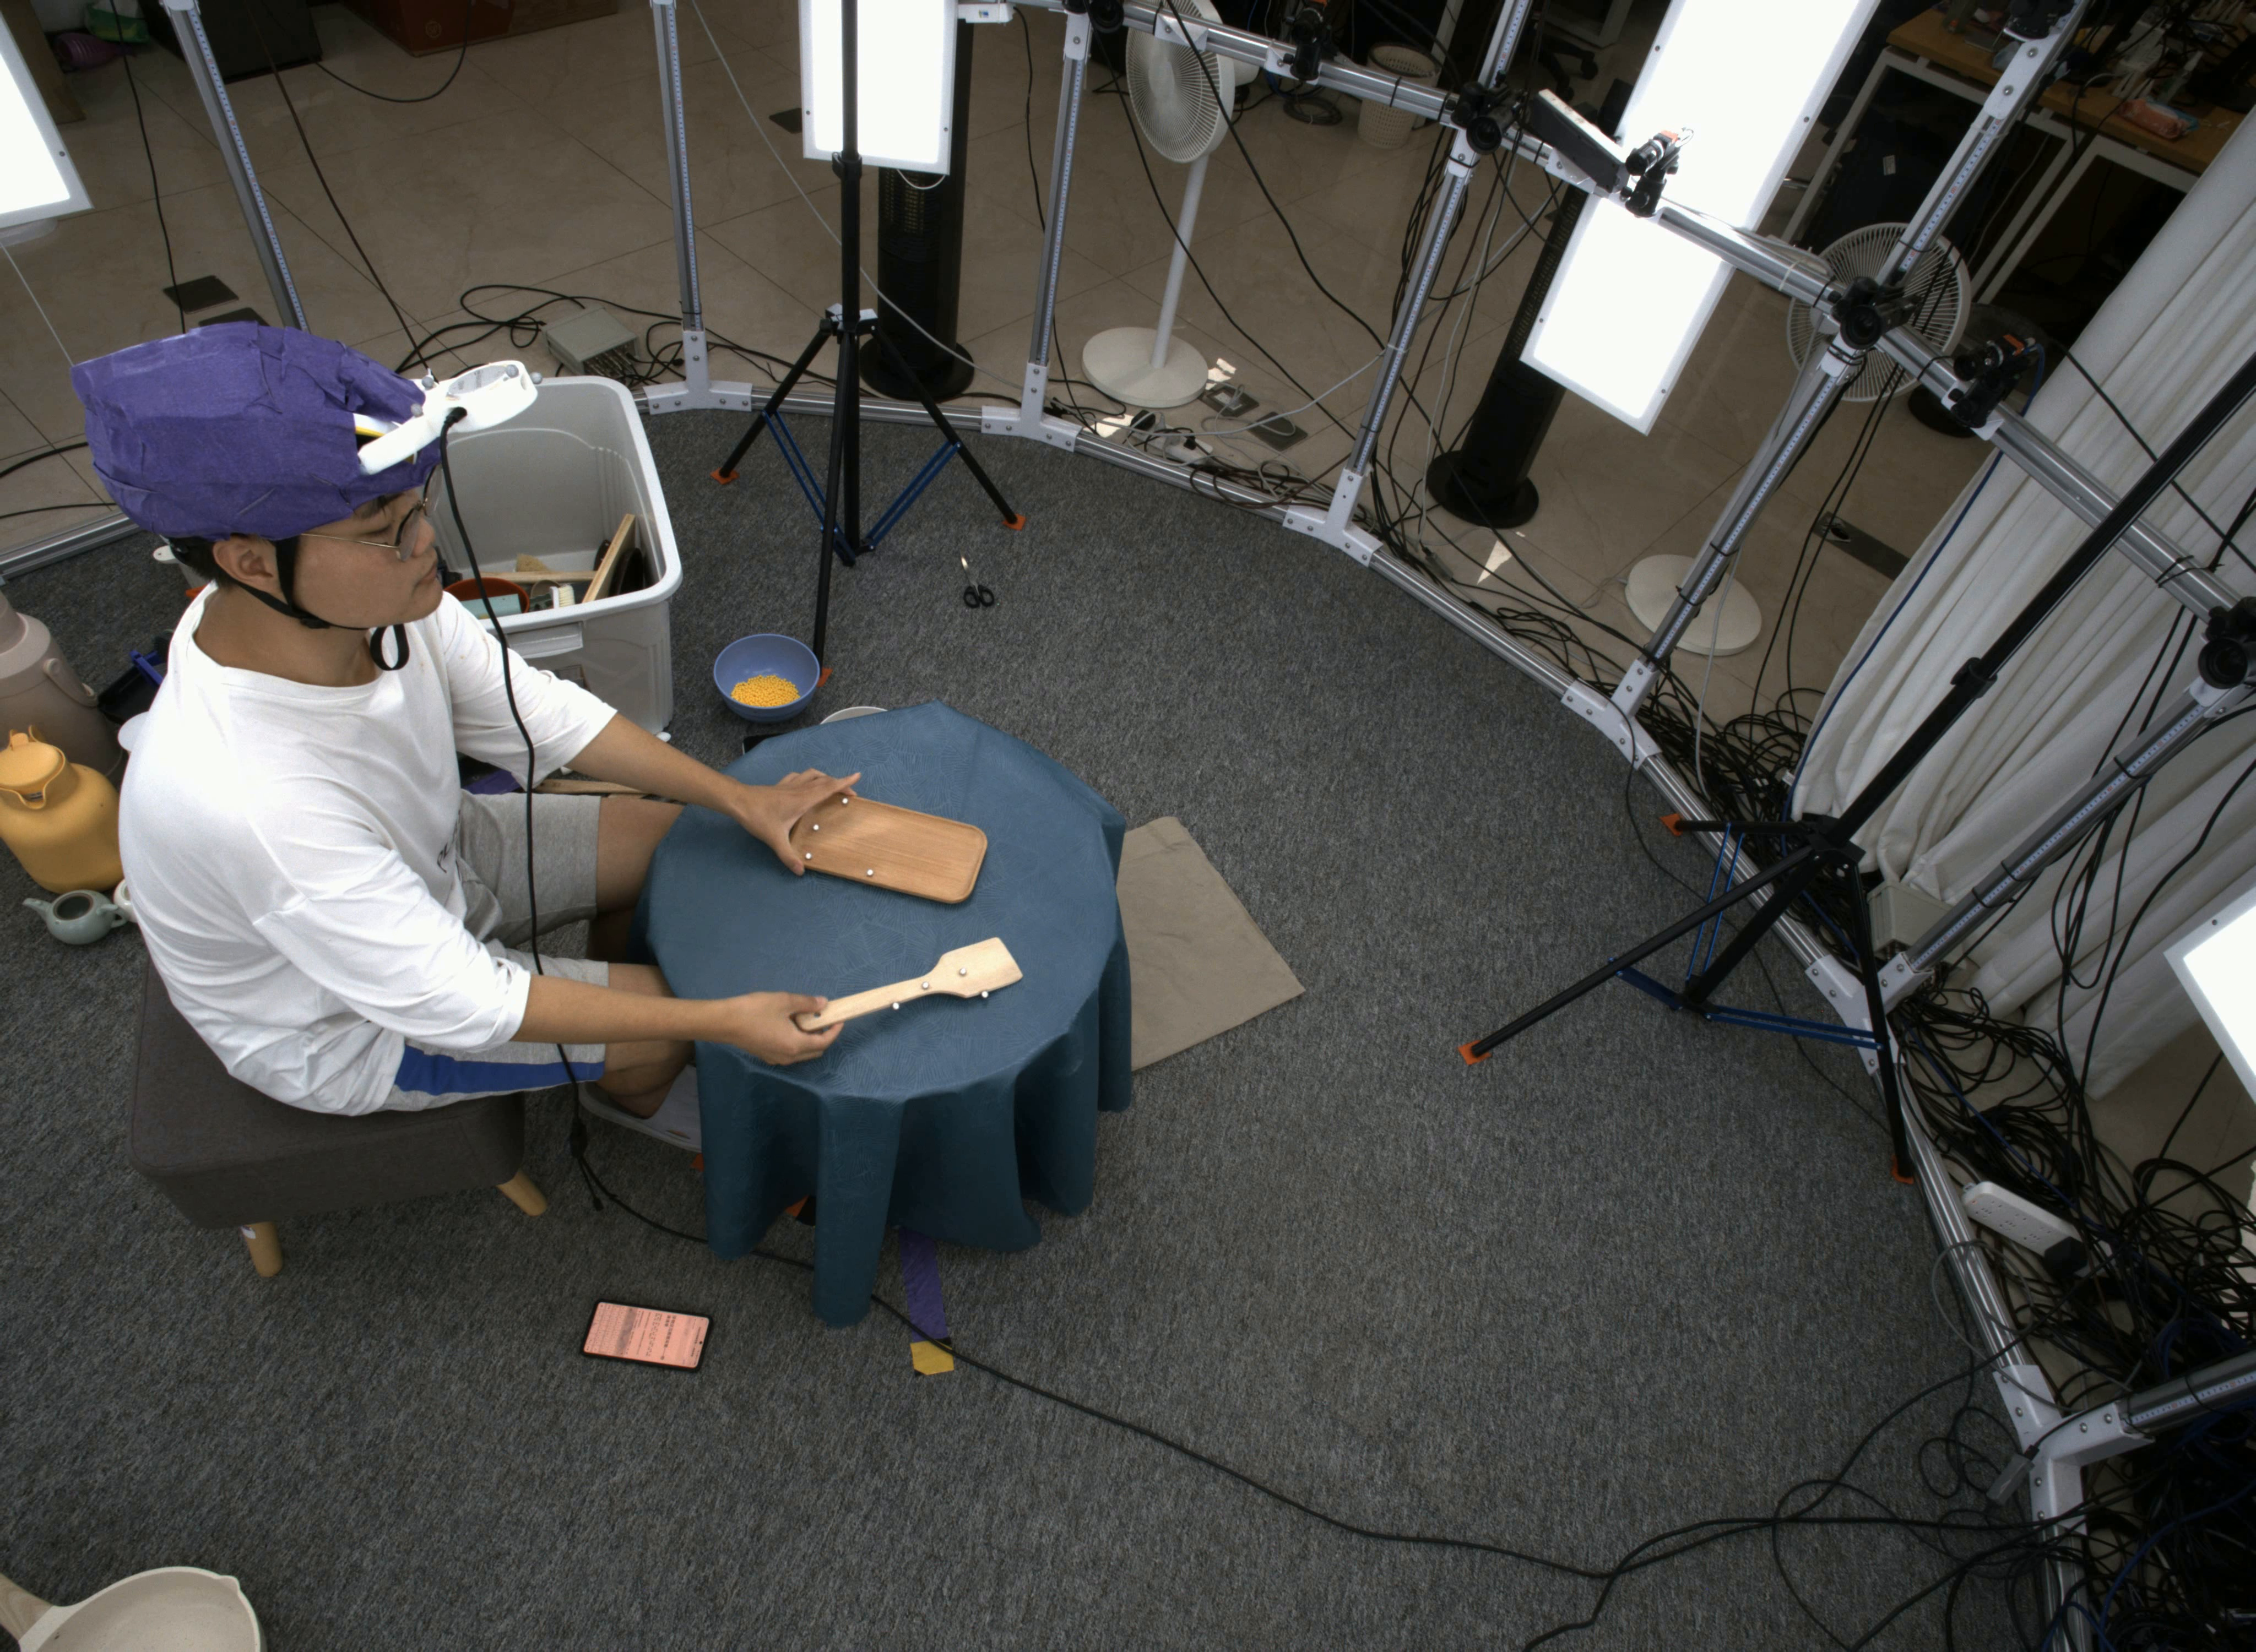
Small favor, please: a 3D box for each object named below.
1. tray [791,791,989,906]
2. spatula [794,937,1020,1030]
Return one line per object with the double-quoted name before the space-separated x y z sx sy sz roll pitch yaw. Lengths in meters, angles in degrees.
"tray" -0.315 0.029 1.729 0.249 0.023 0.129 15 55 -3
"spatula" -0.268 0.197 1.590 0.296 0.011 0.070 -14 57 -36
